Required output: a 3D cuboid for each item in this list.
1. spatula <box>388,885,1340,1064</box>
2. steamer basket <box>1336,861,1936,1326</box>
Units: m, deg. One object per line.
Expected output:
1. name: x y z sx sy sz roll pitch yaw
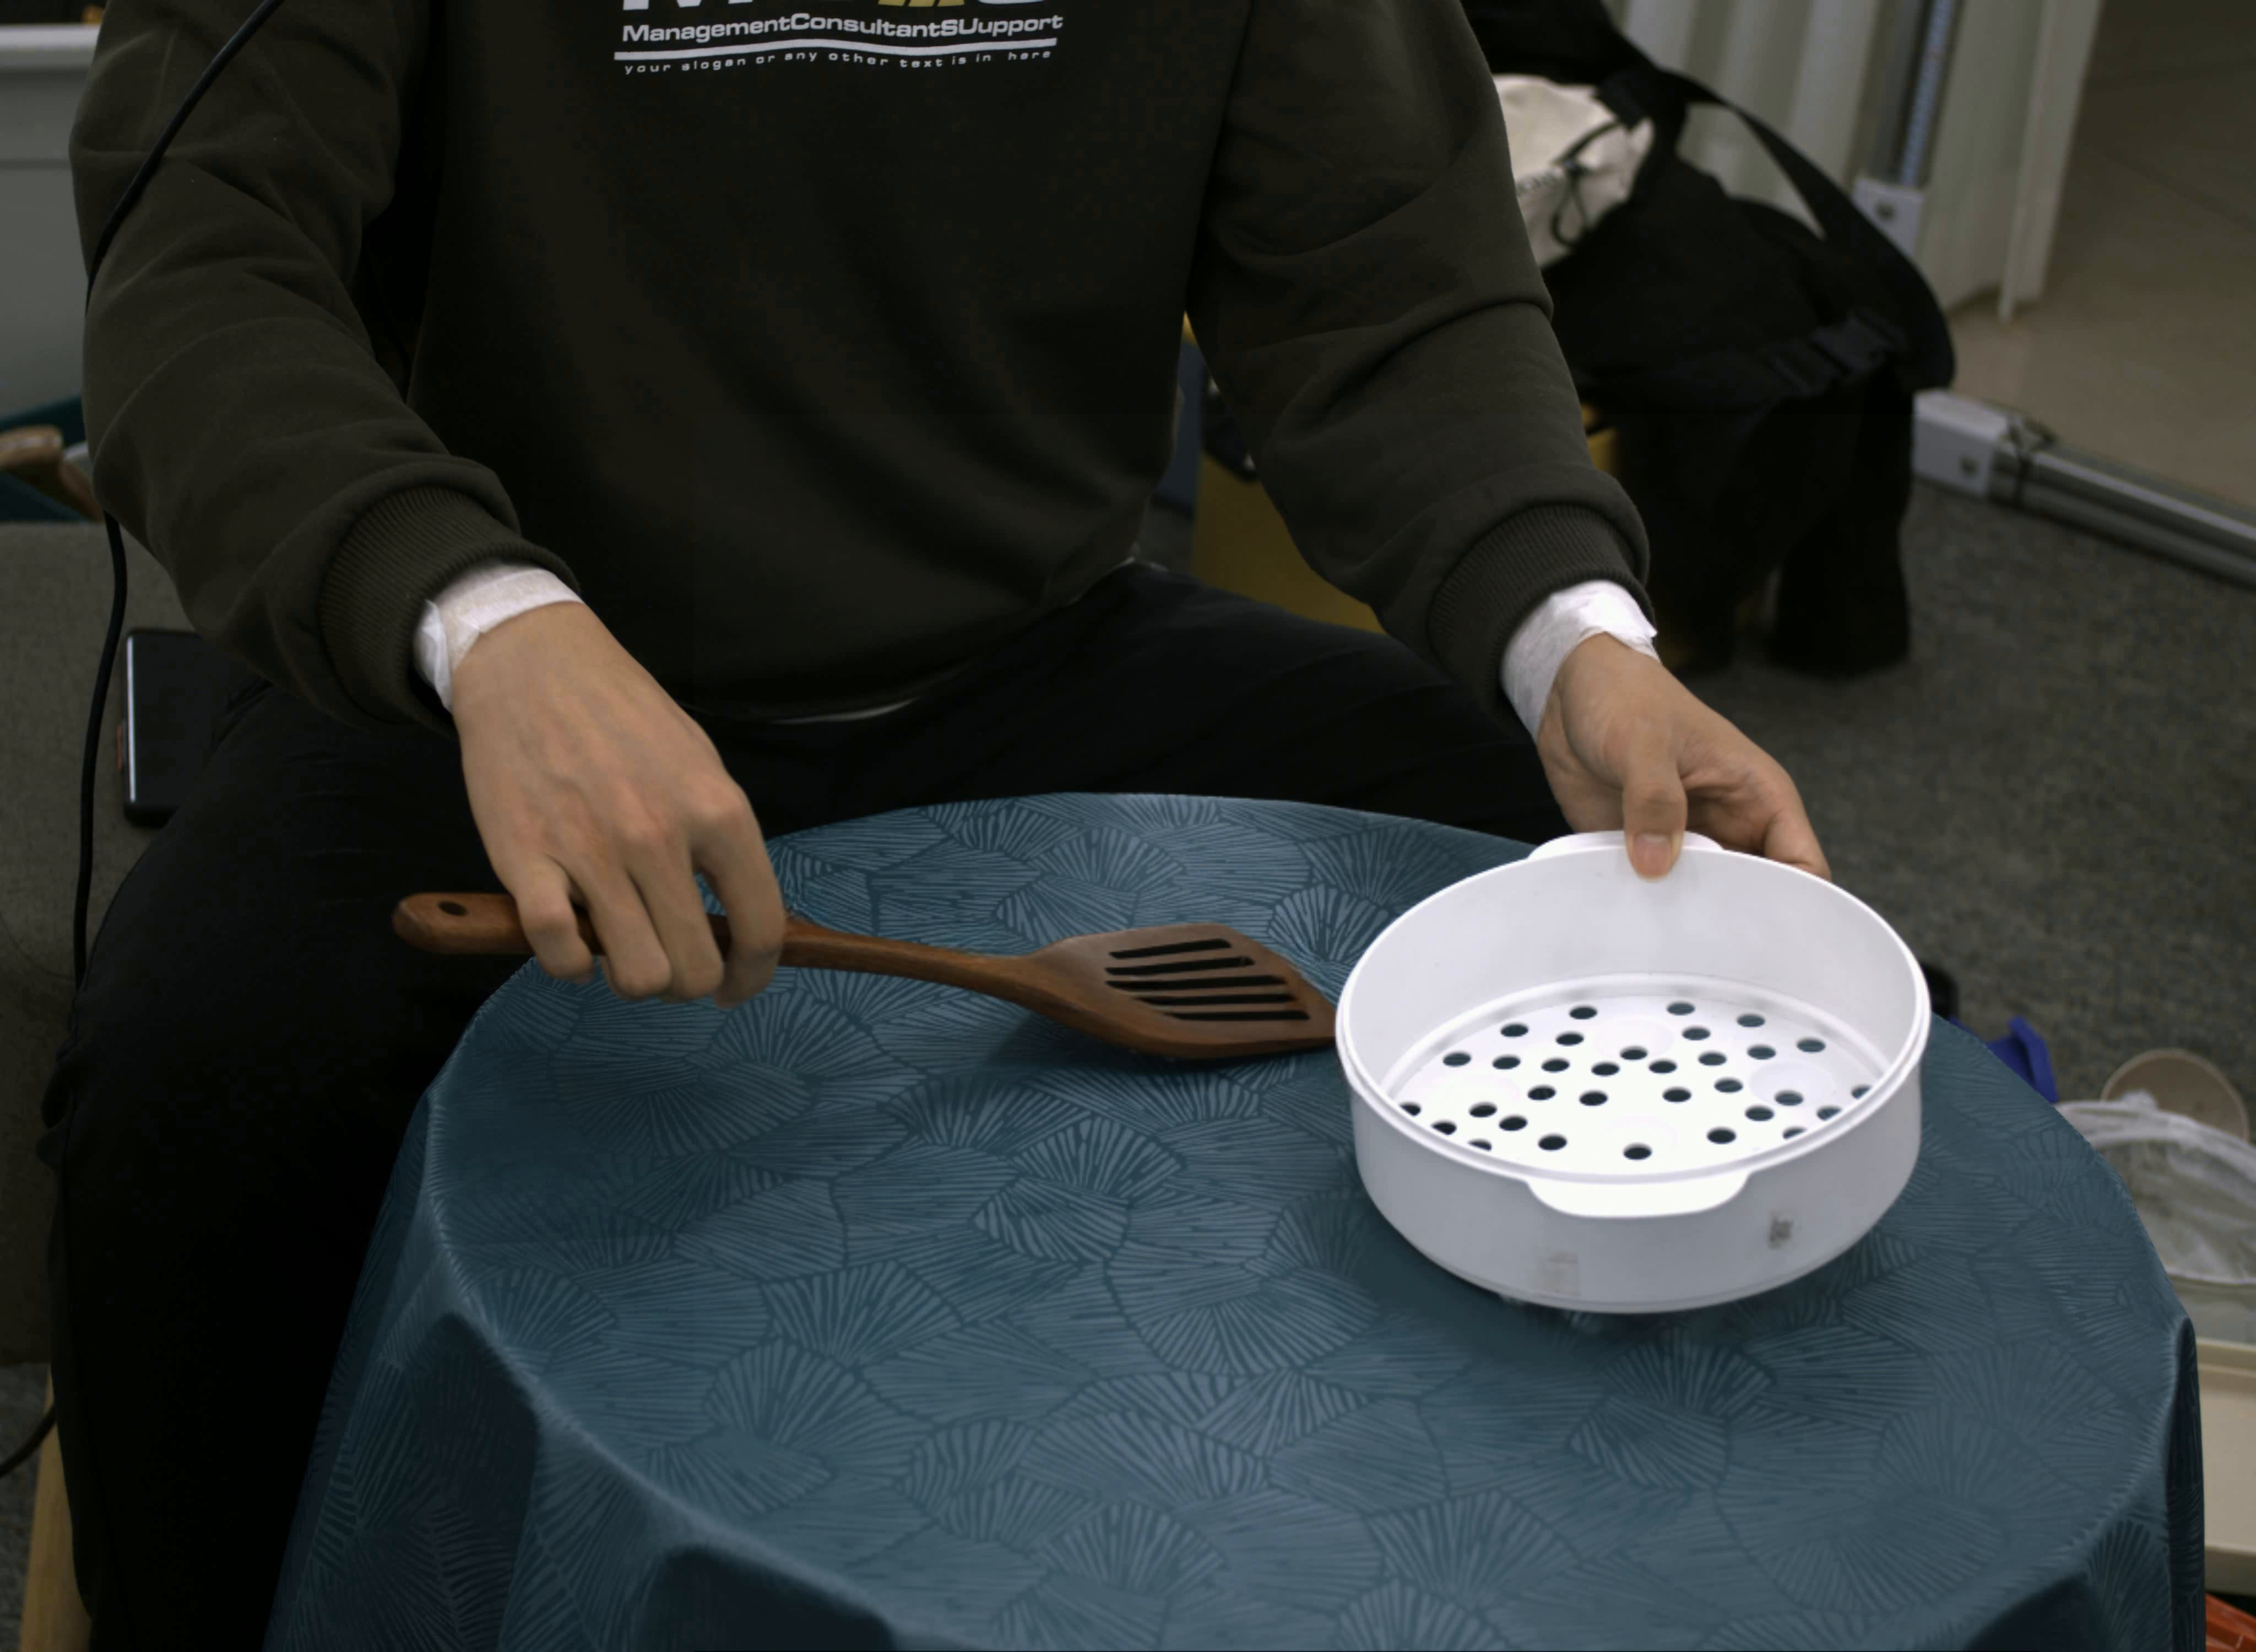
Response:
1. spatula: -0.088 0.048 1.824 0.382 0.023 0.086 8 25 -39
2. steamer basket: 0.172 0.092 1.809 0.201 0.069 0.232 -1 29 5
